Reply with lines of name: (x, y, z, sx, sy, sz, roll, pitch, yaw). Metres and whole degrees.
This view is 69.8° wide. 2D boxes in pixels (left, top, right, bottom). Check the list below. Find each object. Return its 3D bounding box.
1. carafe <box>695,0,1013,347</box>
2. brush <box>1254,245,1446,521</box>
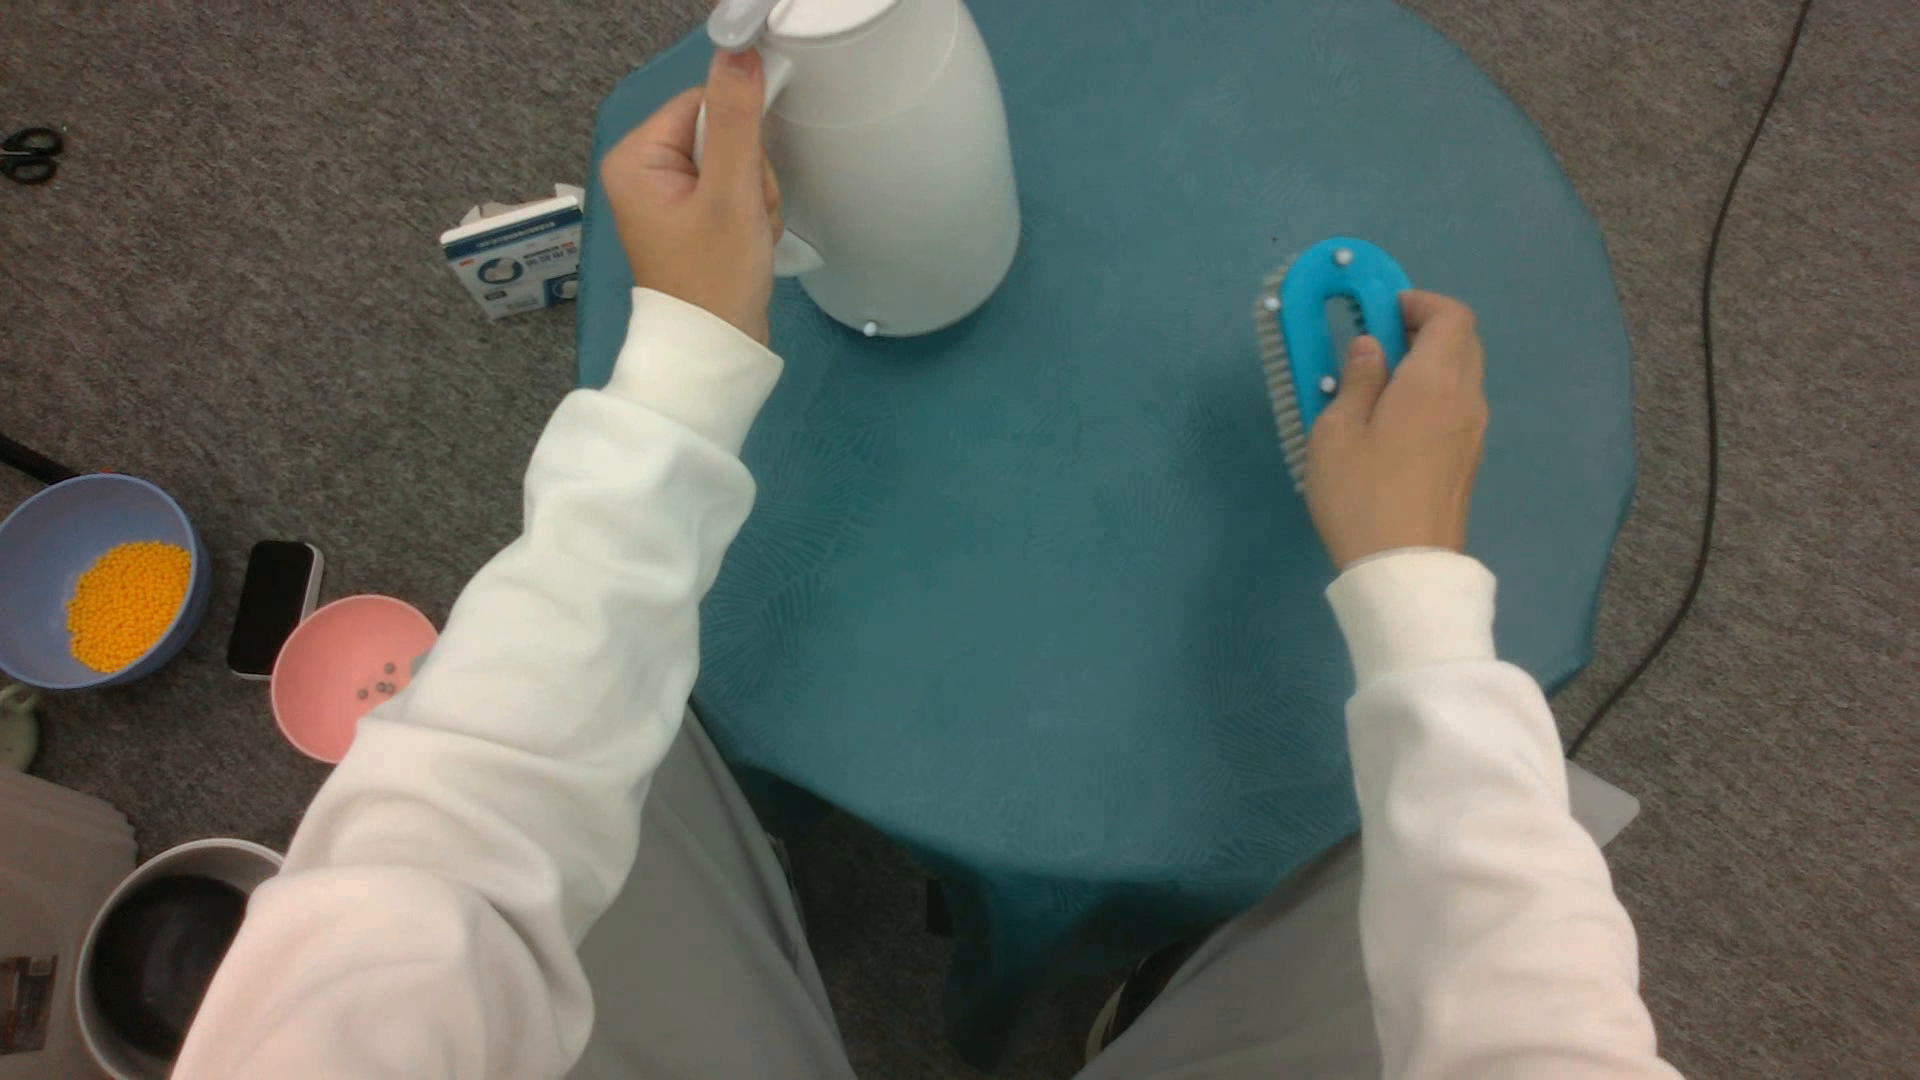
carafe: (-0.058, -0.189, 0.676, 0.132, 0.248, 0.168, 33, 81, 13)
brush: (0.206, -0.083, 0.698, 0.084, 0.063, 0.142, -8, 85, -15)
